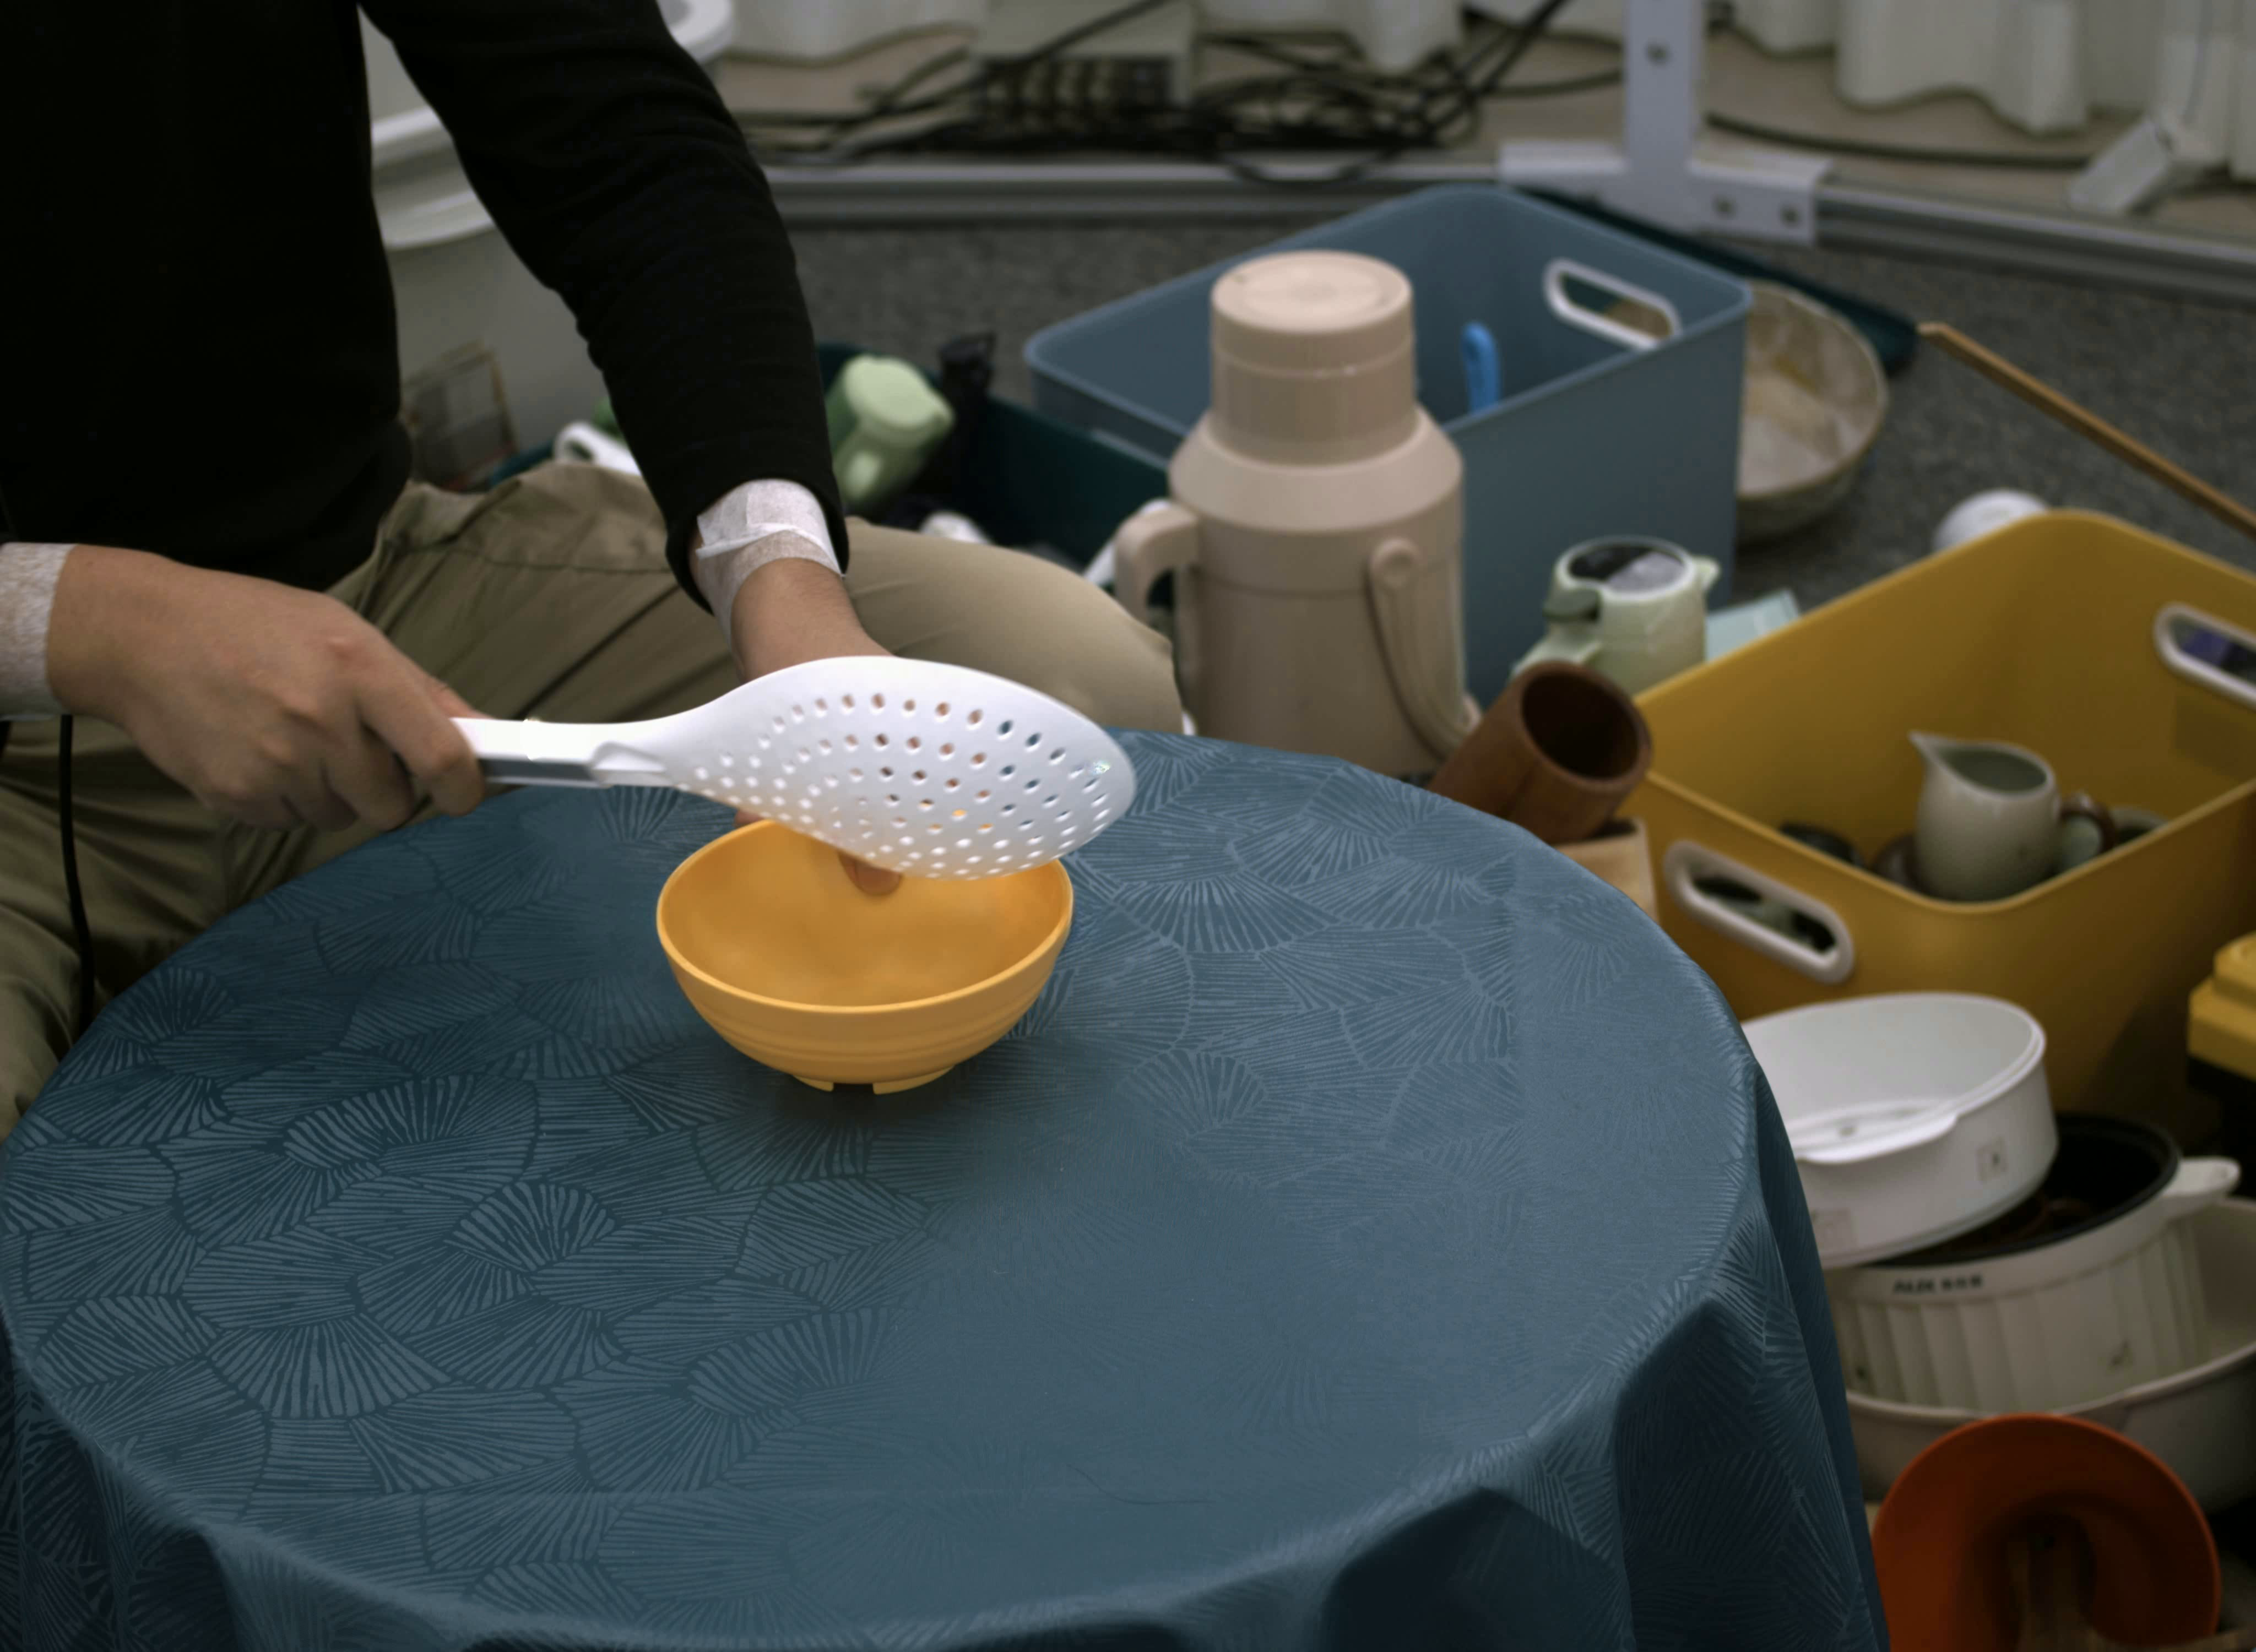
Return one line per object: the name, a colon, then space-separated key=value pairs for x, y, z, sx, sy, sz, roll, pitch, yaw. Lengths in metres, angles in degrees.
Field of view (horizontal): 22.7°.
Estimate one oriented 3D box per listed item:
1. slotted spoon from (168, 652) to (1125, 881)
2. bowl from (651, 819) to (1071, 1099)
slotted spoon: x=-0.171 y=-0.023 z=1.933 sx=0.347 sy=0.134 sz=0.046 roll=7 pitch=65 yaw=20
bowl: x=-0.092 y=0.053 z=1.942 sx=0.144 sy=0.059 sz=0.147 roll=1 pitch=28 yaw=0
